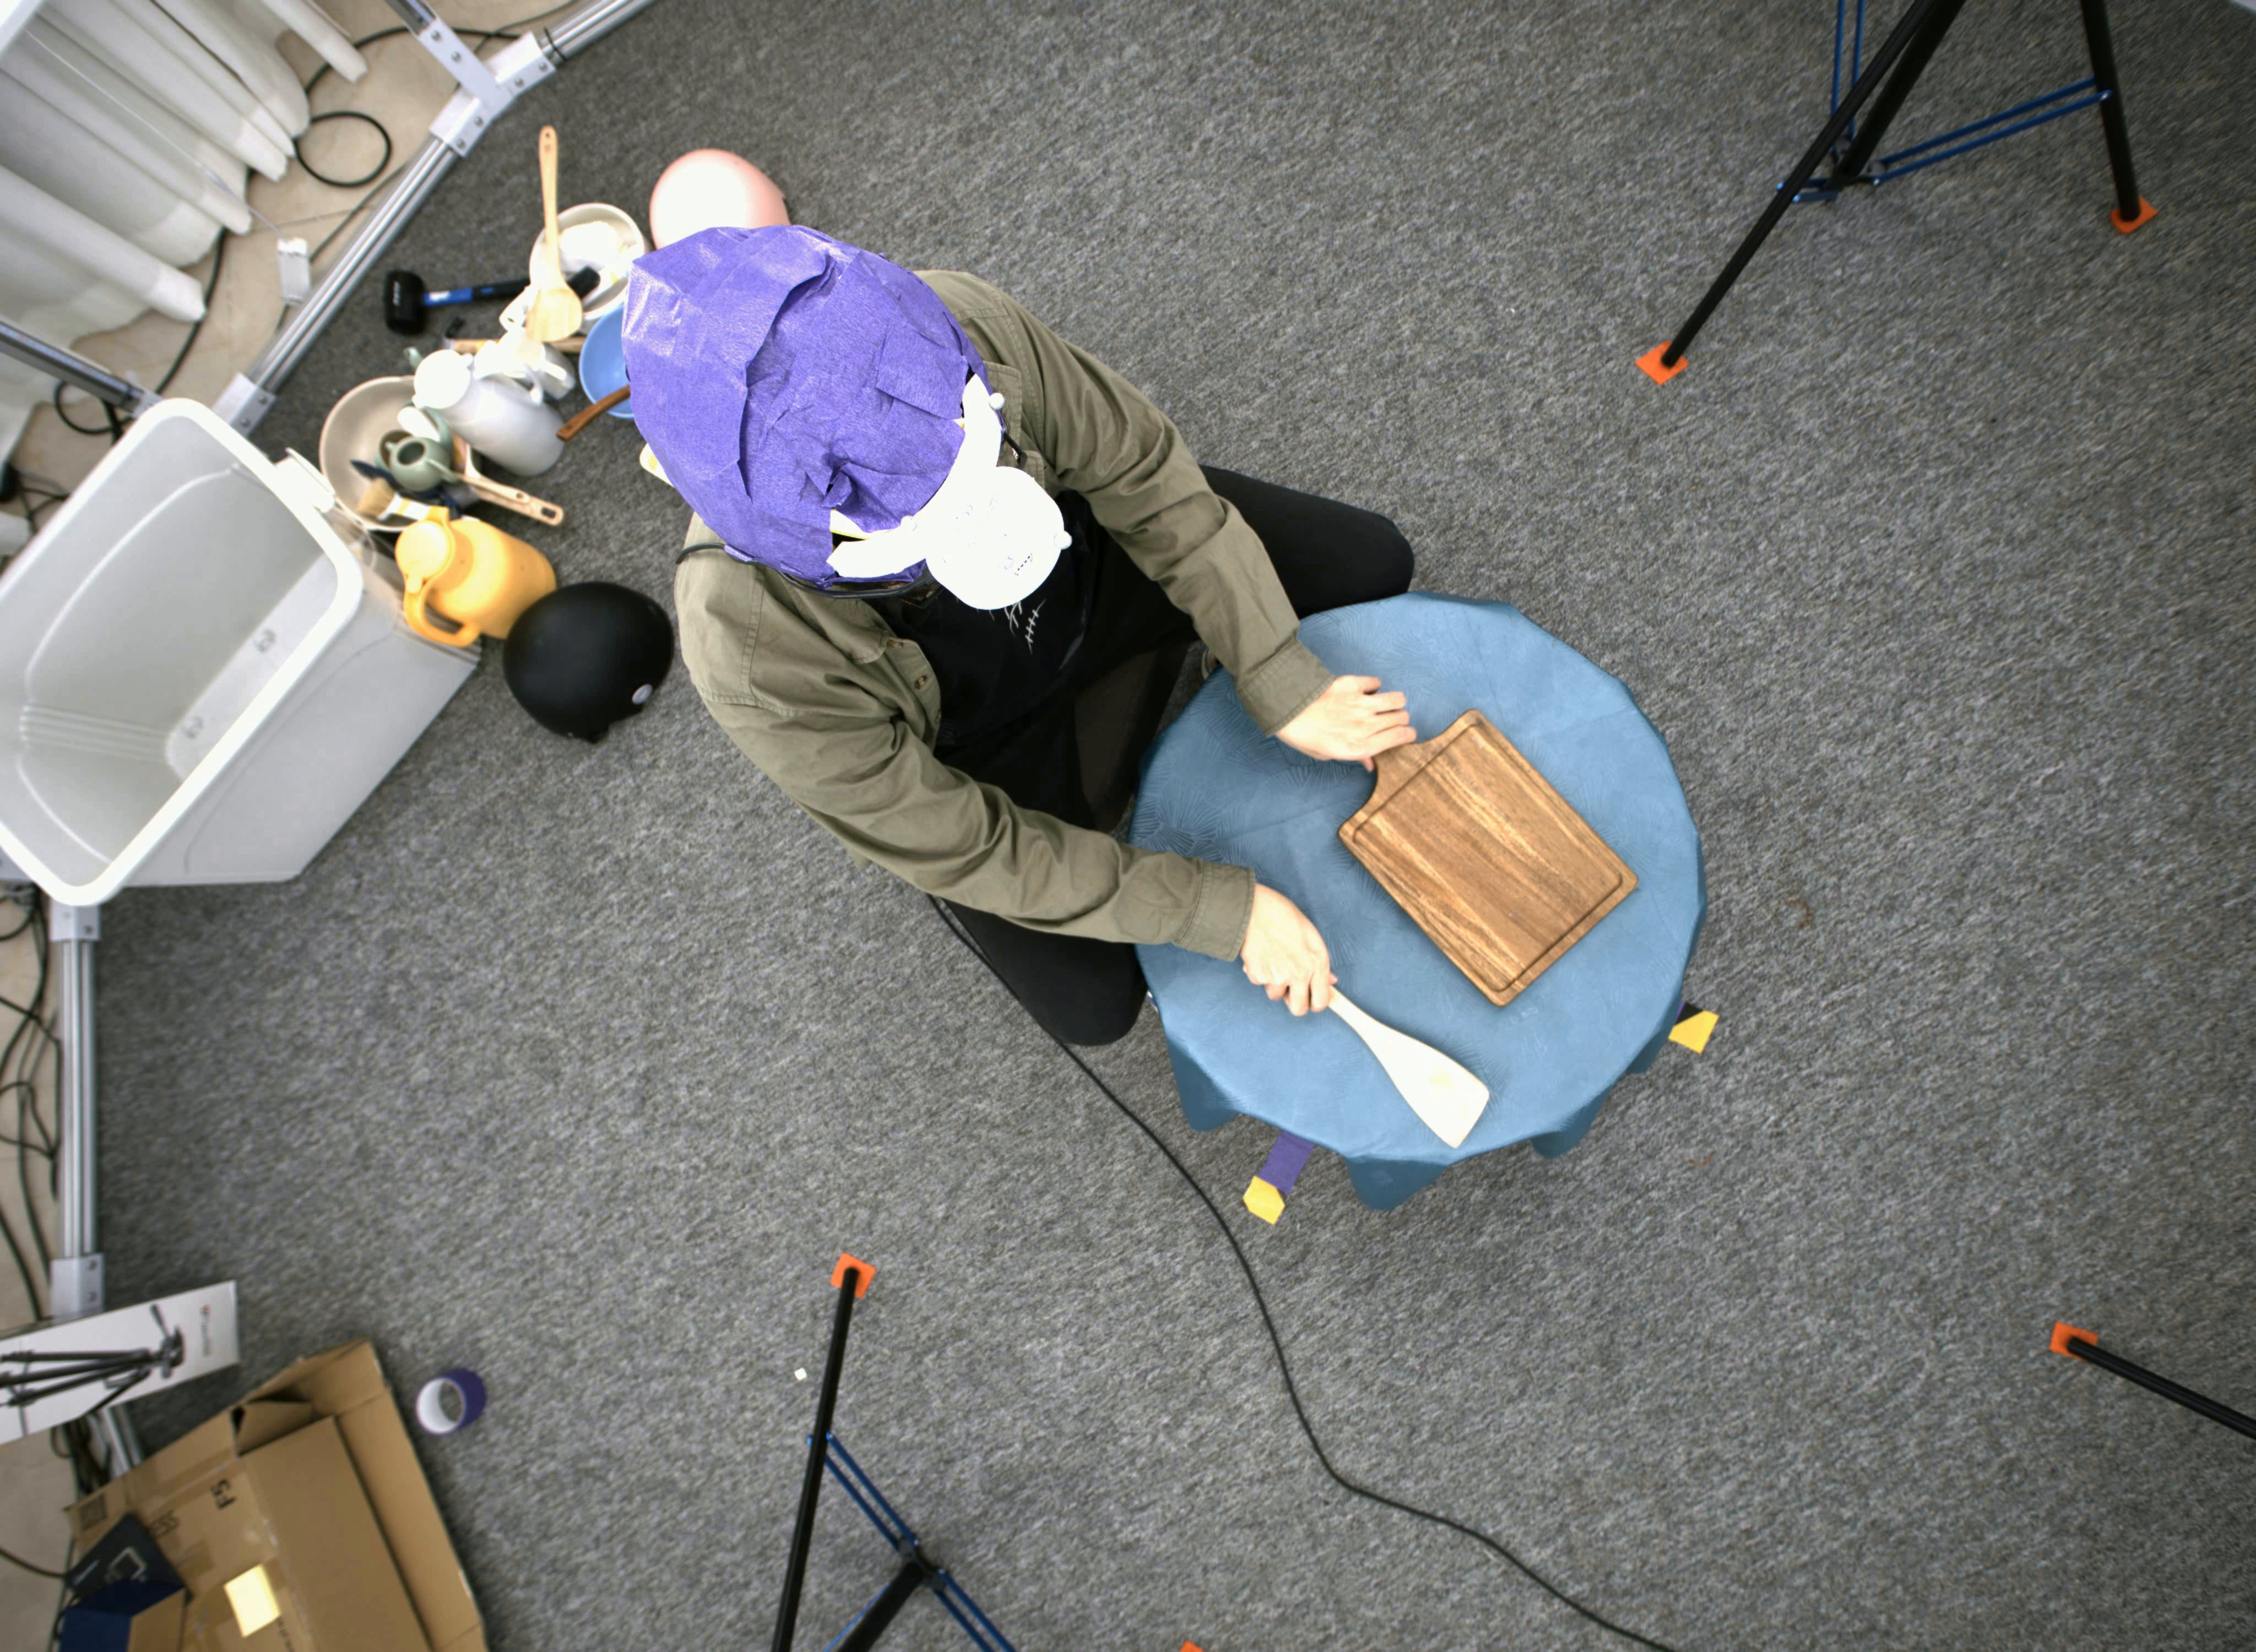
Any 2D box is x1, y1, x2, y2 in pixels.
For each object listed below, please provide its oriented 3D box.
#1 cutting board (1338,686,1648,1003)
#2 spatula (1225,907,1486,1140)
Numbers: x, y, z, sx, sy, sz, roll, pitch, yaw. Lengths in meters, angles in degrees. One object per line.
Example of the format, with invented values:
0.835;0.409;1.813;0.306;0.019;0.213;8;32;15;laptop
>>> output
0.344;-0.011;1.413;0.202;0.023;0.351;-42;87;6;cutting board
0.229;0.191;1.426;0.327;0.016;0.082;39;121;7;spatula
